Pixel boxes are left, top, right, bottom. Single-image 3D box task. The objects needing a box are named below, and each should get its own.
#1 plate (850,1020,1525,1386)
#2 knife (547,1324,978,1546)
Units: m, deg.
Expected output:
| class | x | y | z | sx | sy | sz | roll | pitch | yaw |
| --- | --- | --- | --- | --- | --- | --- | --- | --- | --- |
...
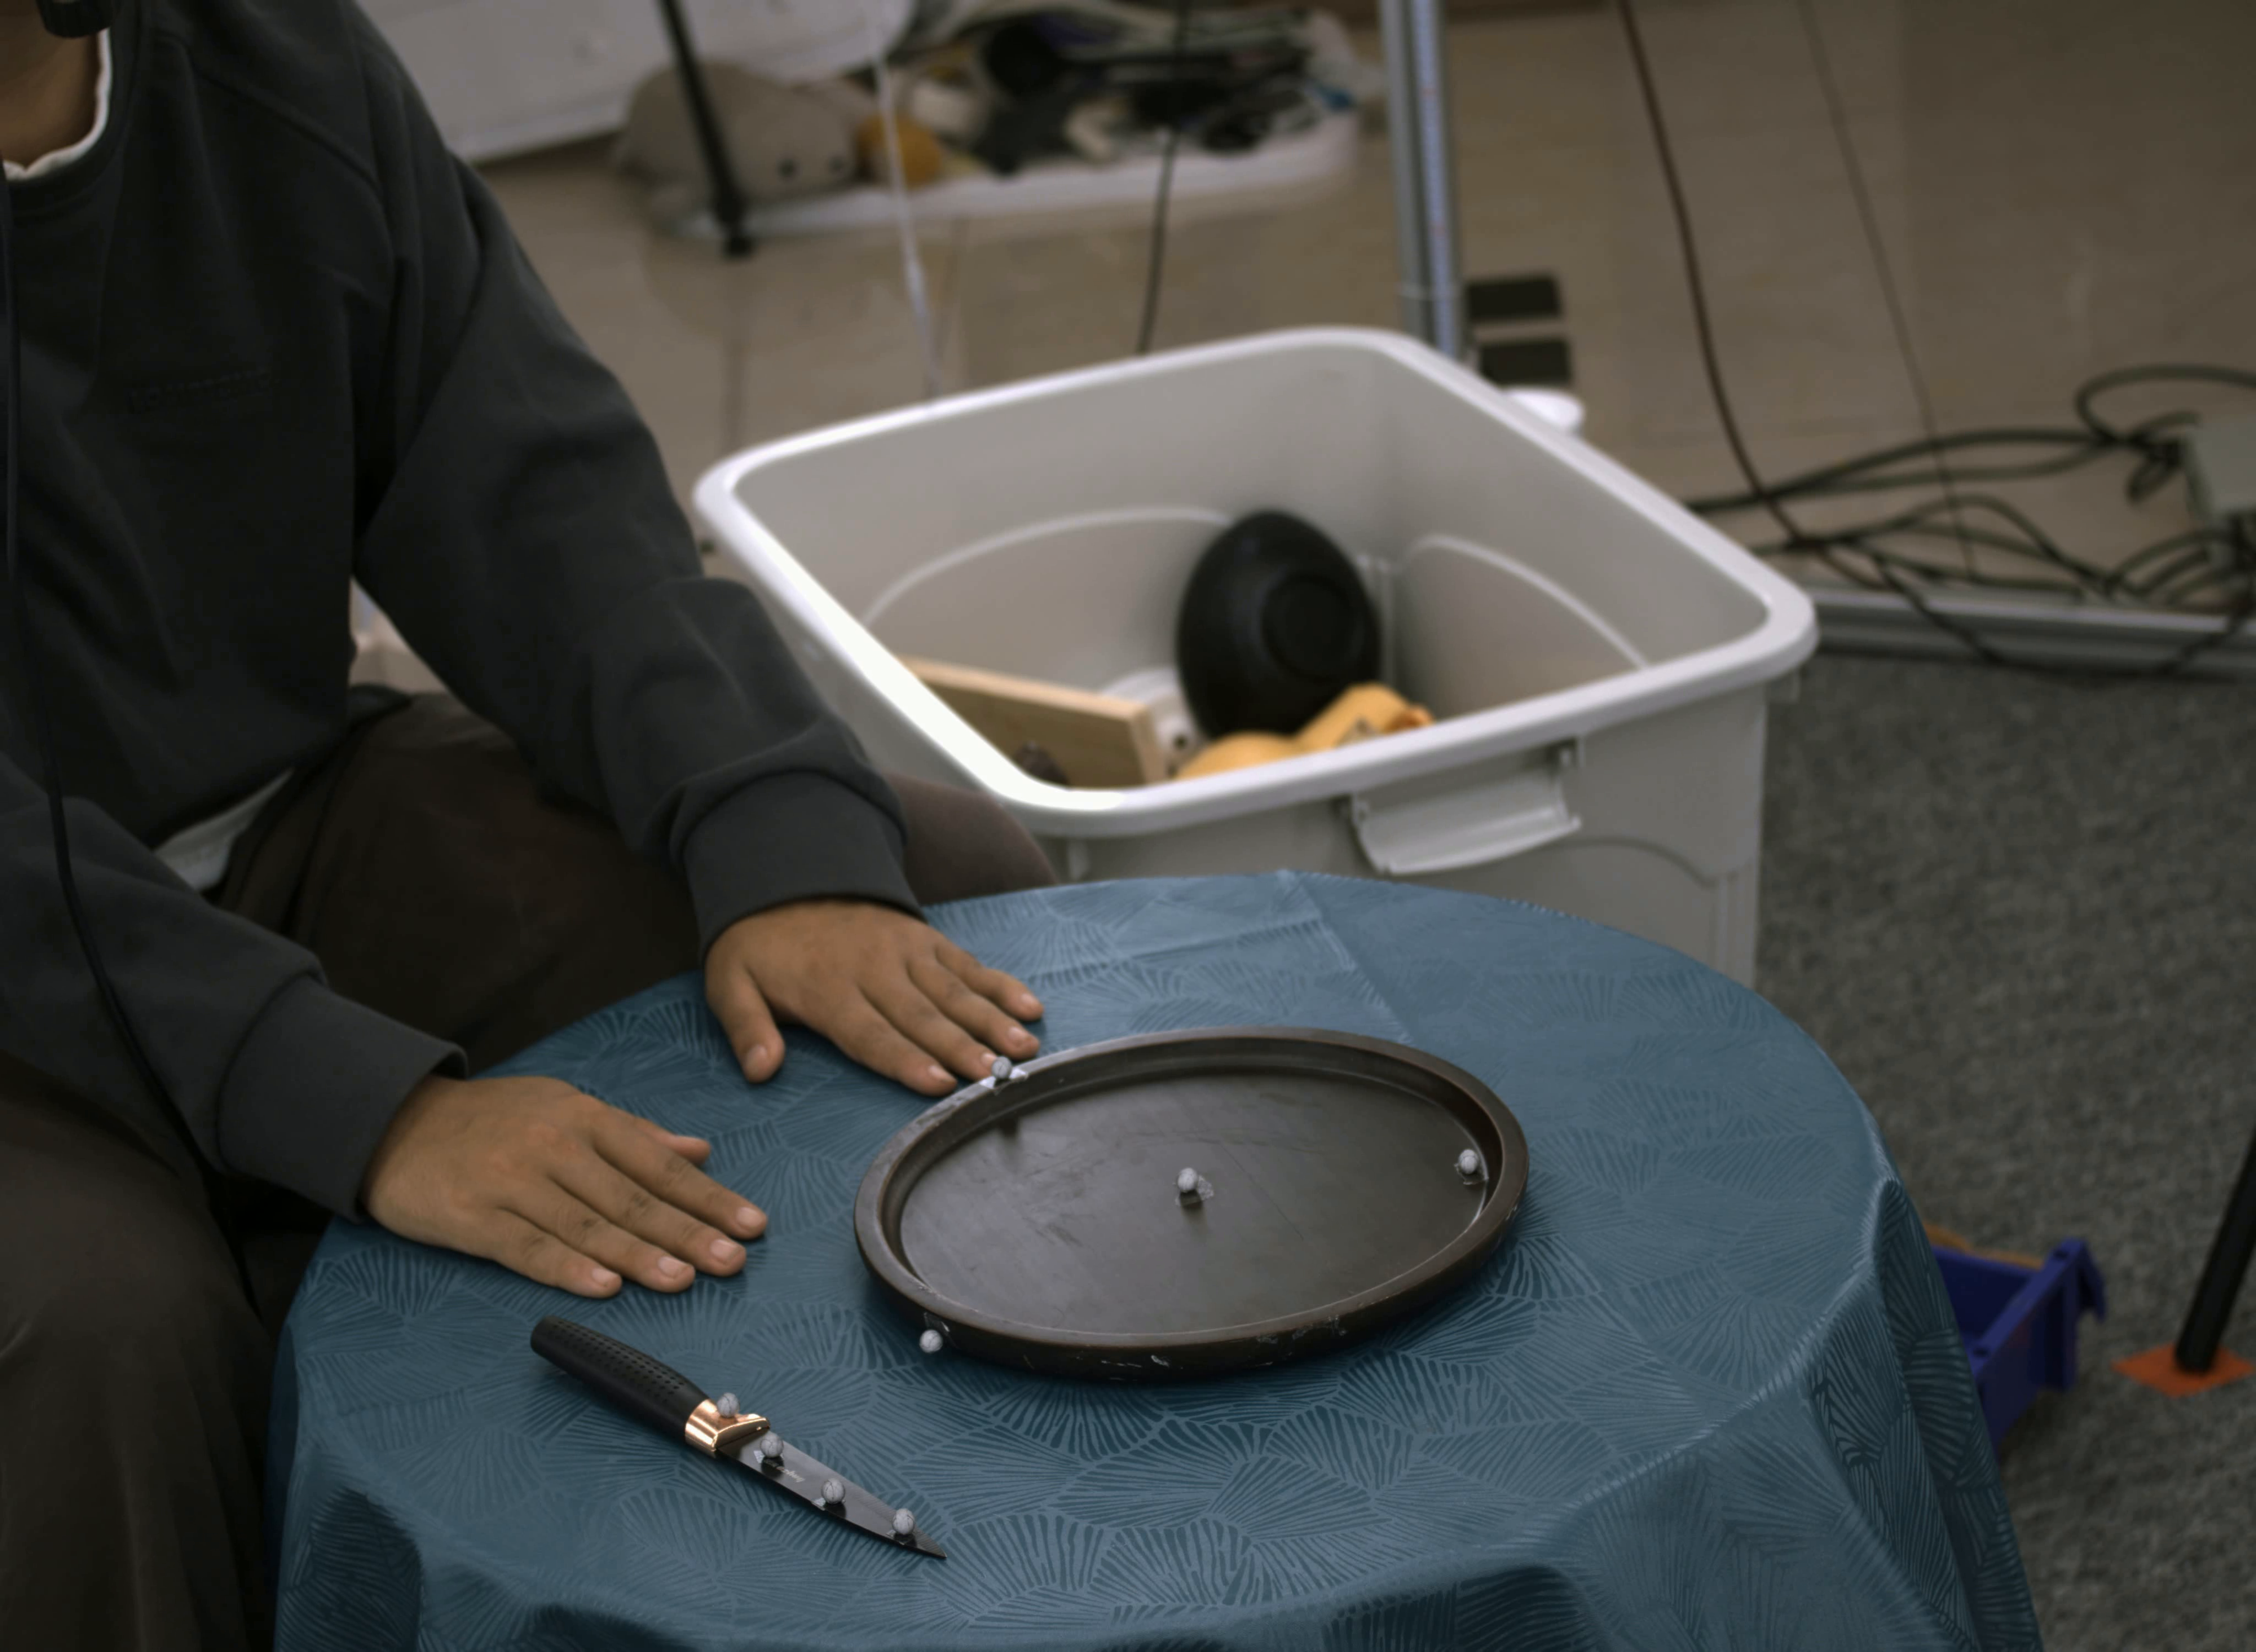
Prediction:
| class | x | y | z | sx | sy | sz | roll | pitch | yaw |
| --- | --- | --- | --- | --- | --- | --- | --- | --- | --- |
| plate | 0.023 | 0.139 | 2.115 | 0.254 | 0.029 | 0.251 | -7 | 24 | 3 |
| knife | -0.131 | 0.216 | 2.001 | 0.026 | 0.017 | 0.223 | -20 | 28 | -38 |
